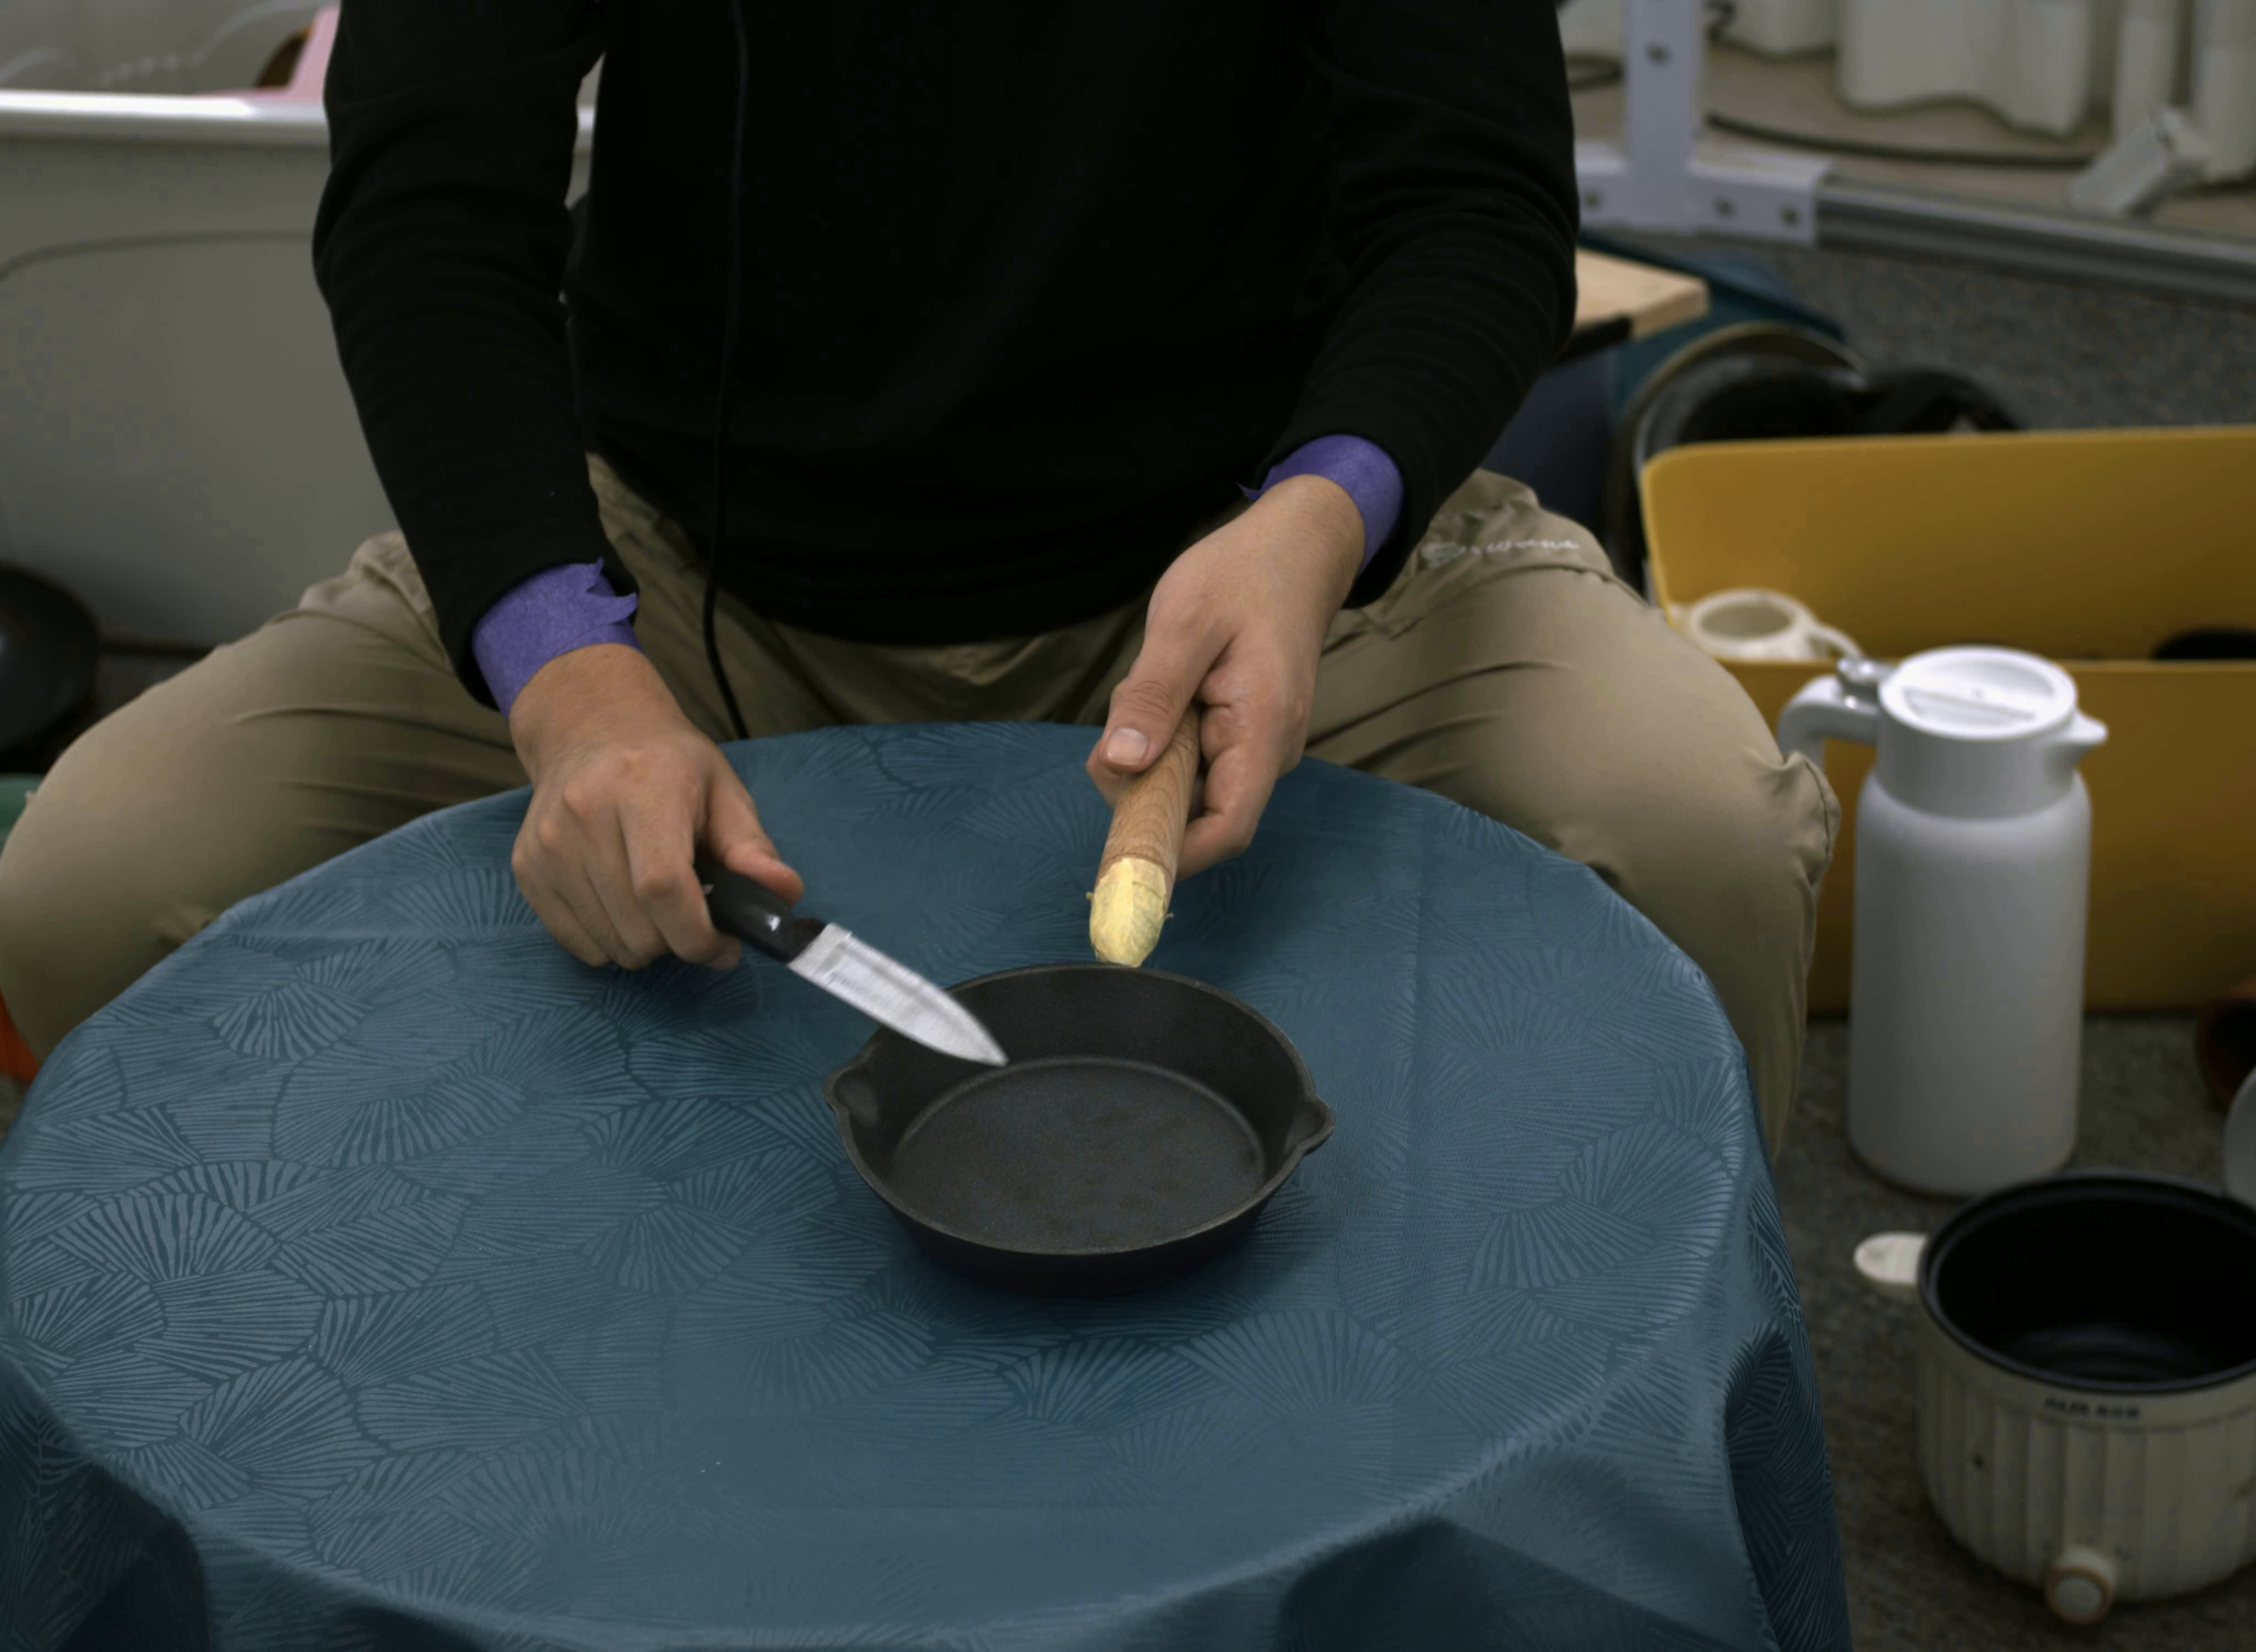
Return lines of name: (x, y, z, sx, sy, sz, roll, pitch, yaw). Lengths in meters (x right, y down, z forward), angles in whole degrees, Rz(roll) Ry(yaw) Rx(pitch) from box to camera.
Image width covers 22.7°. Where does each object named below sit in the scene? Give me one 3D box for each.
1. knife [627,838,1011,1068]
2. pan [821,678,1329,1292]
knife: (-0.108, 0.046, 1.911, 0.025, 0.016, 0.238, -41, 35, -18)
pan: (-0.002, 0.051, 1.912, 0.168, 0.049, 0.330, 6, 33, 9)
